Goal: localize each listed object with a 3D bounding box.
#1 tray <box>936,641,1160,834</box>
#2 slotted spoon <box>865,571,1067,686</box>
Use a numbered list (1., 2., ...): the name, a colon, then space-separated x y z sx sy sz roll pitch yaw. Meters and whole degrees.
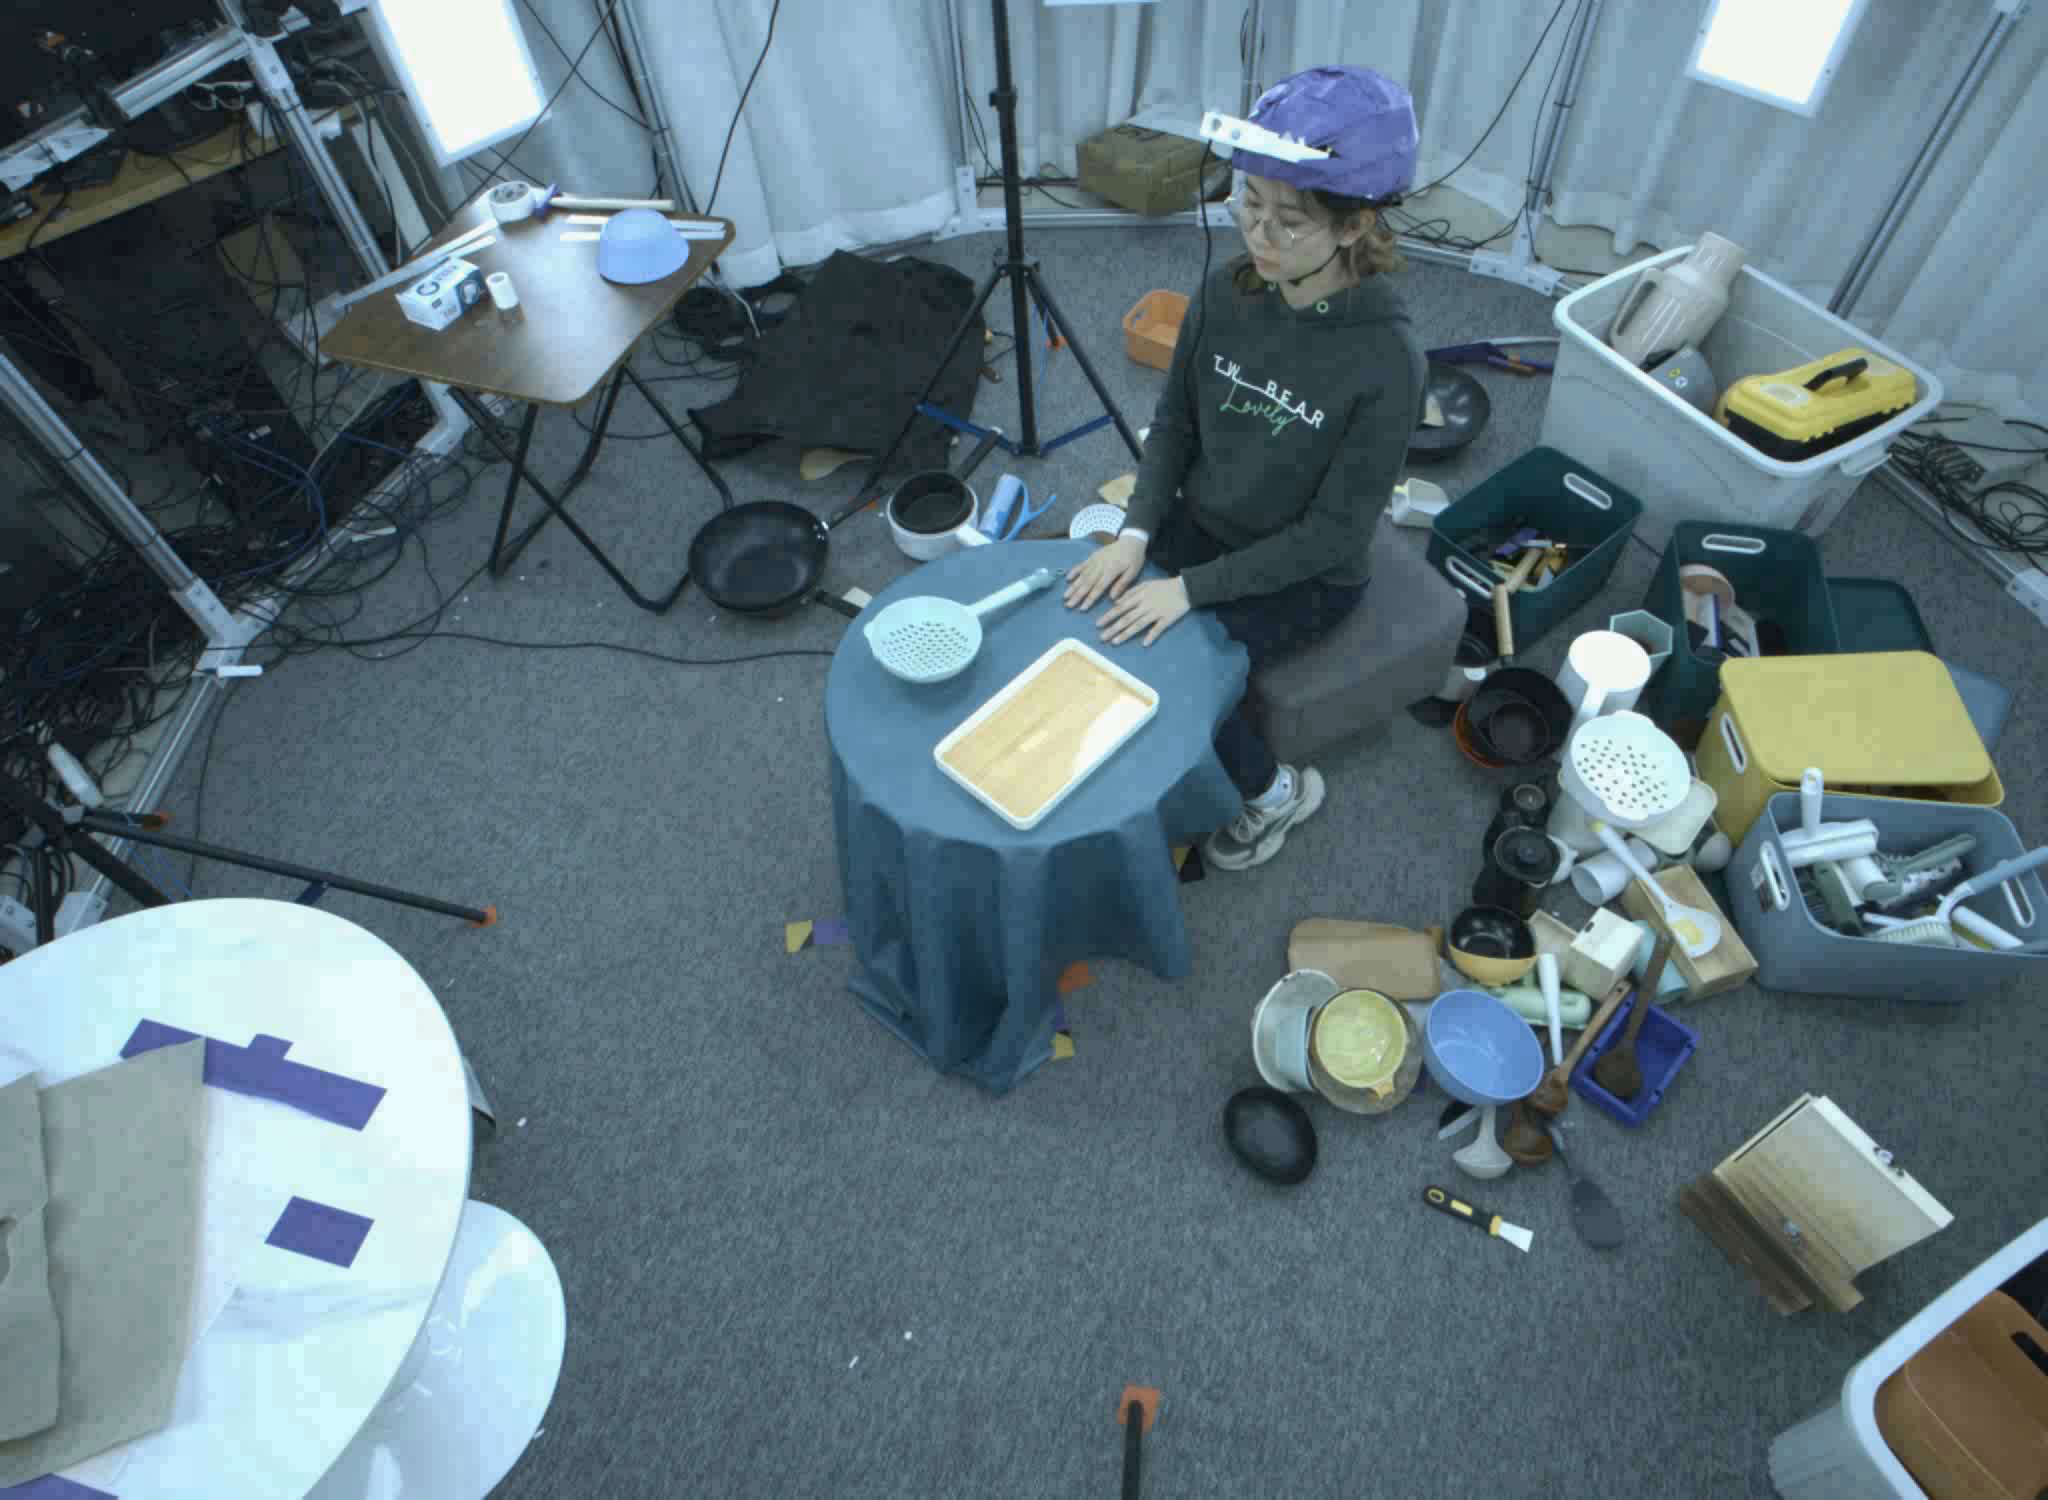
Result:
1. tray: 0.037 -0.024 1.798 0.188 0.028 0.302 37 64 24
2. slotted spoon: -0.074 -0.207 1.906 0.361 0.076 0.166 -36 62 -21
